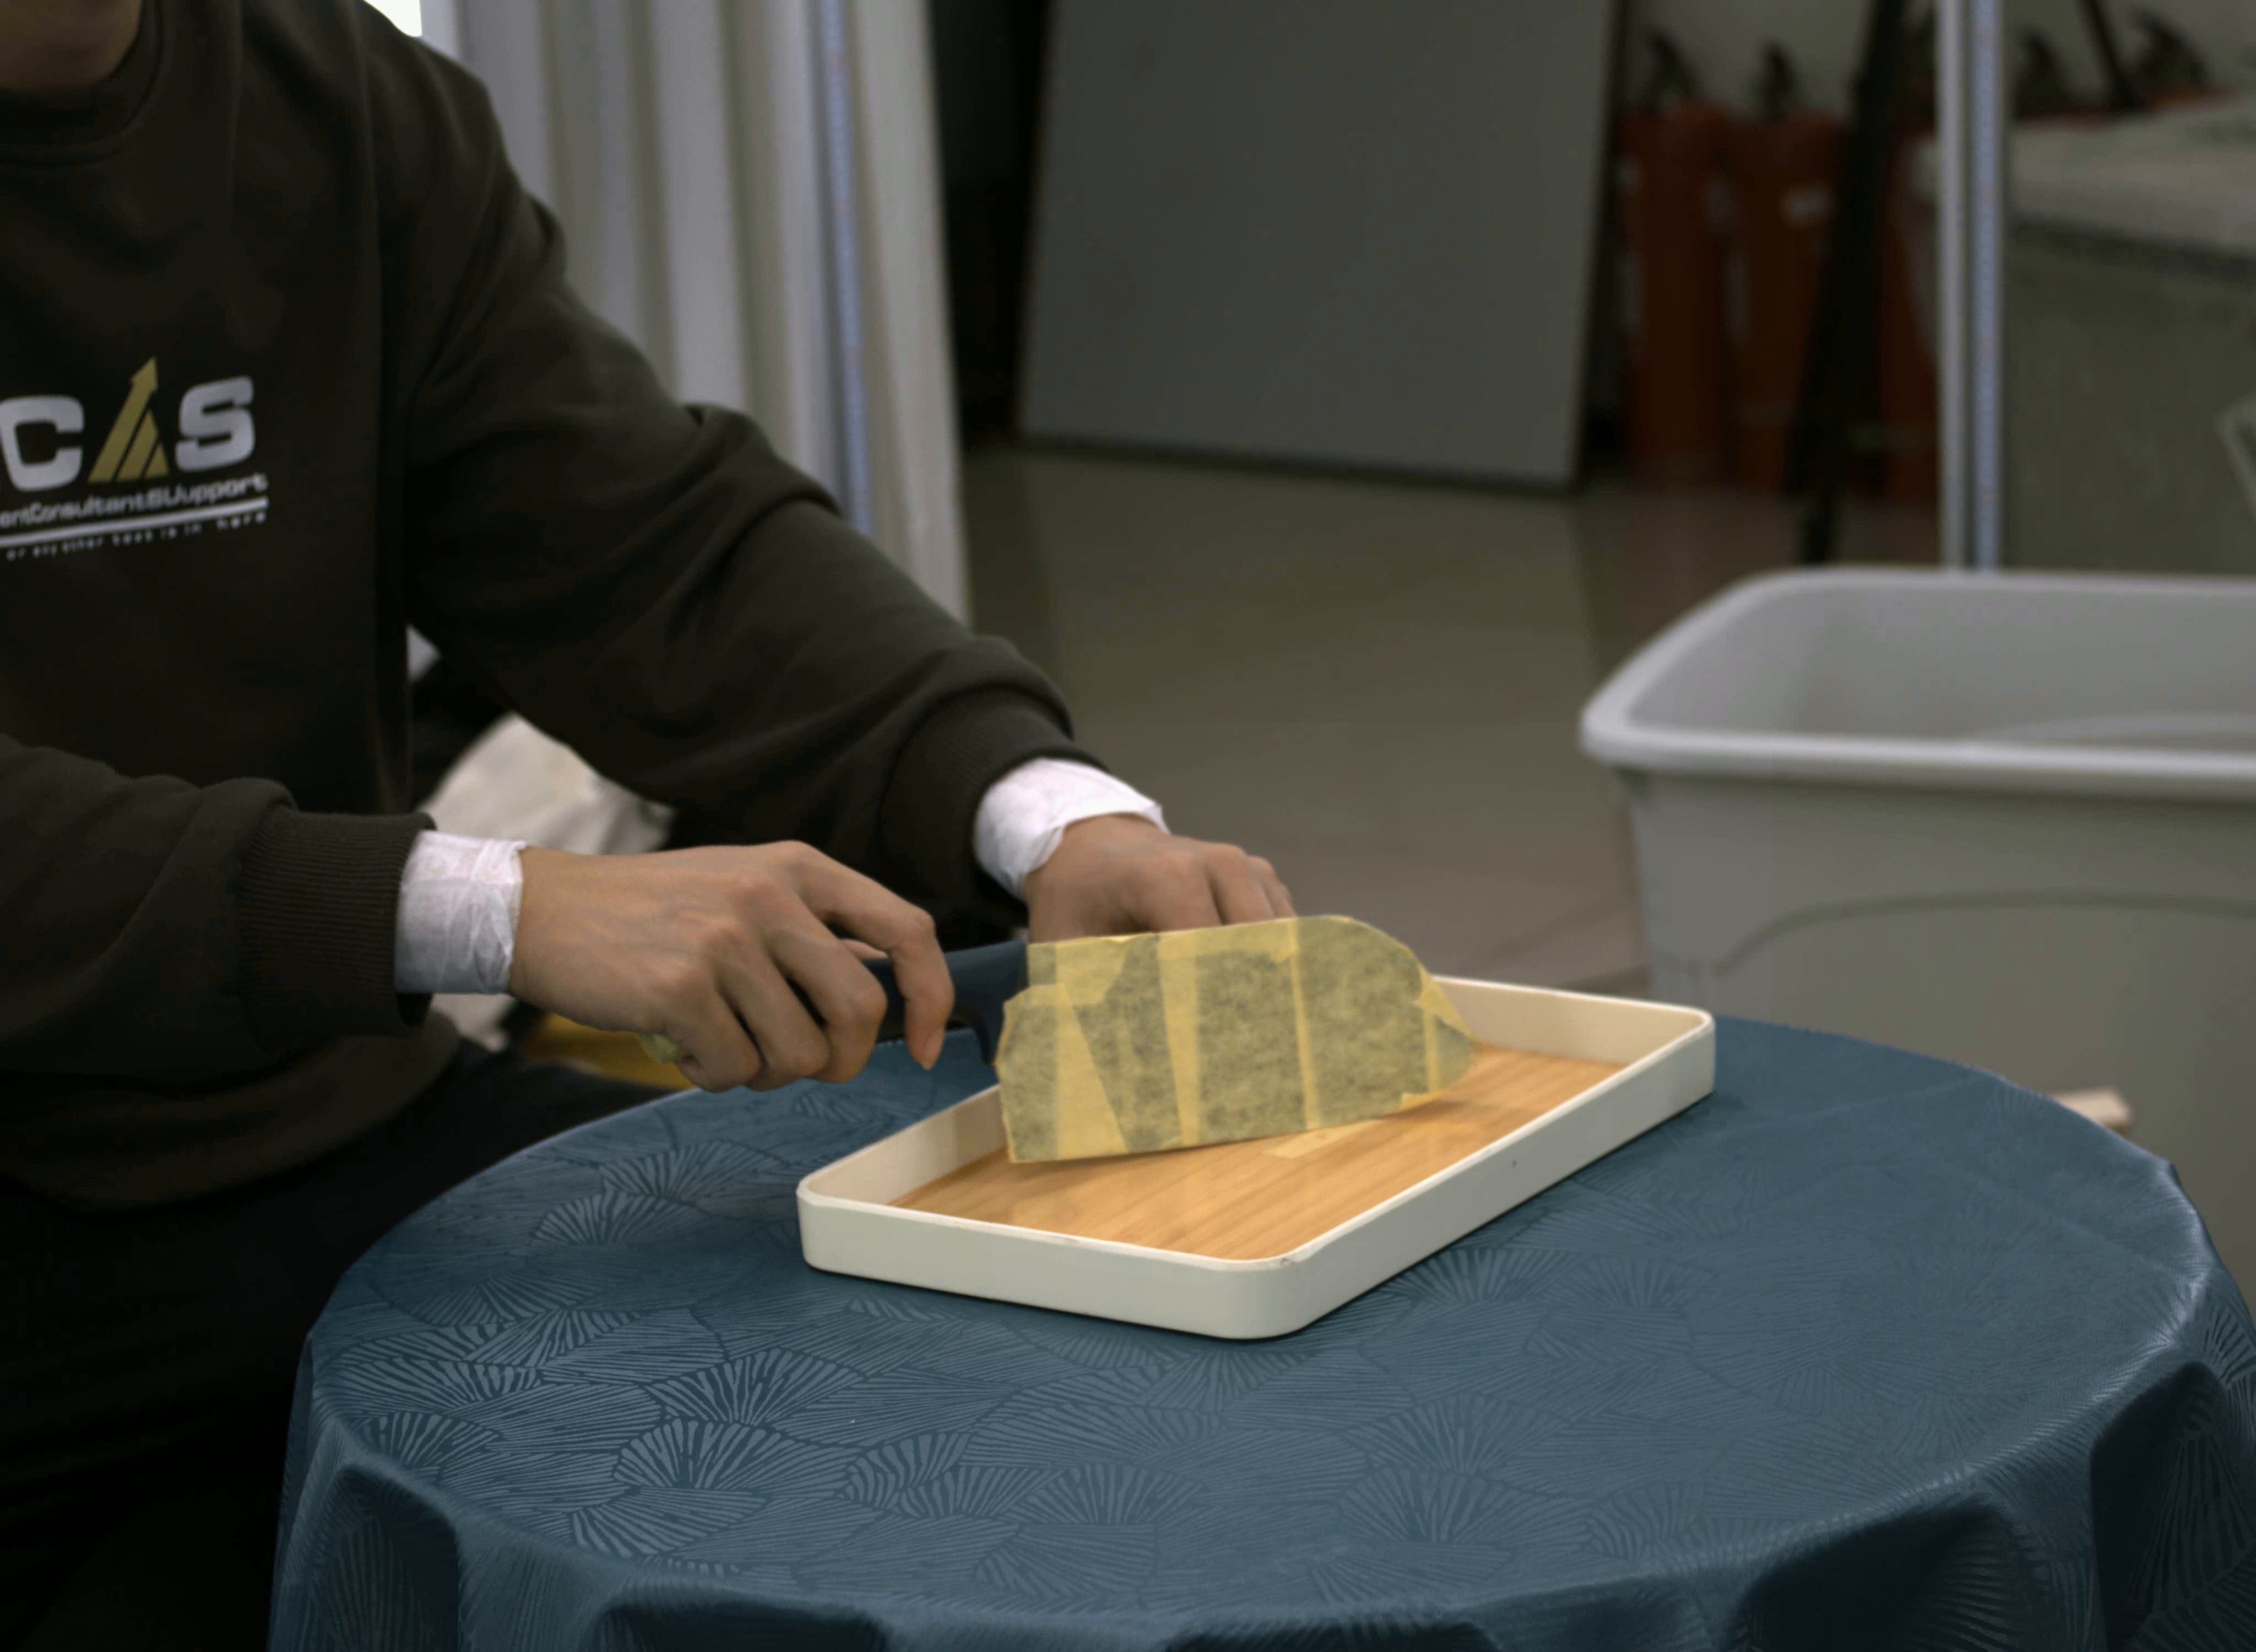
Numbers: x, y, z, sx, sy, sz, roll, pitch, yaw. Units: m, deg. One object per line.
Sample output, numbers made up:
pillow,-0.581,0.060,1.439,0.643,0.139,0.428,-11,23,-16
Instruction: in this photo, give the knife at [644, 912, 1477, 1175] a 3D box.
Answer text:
knife,-0.018,0.073,1.785,0.284,0.082,0.027,-3,-7,-14

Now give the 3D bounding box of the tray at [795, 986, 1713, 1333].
tray,0.047,0.104,1.779,0.193,0.028,0.295,4,15,35
